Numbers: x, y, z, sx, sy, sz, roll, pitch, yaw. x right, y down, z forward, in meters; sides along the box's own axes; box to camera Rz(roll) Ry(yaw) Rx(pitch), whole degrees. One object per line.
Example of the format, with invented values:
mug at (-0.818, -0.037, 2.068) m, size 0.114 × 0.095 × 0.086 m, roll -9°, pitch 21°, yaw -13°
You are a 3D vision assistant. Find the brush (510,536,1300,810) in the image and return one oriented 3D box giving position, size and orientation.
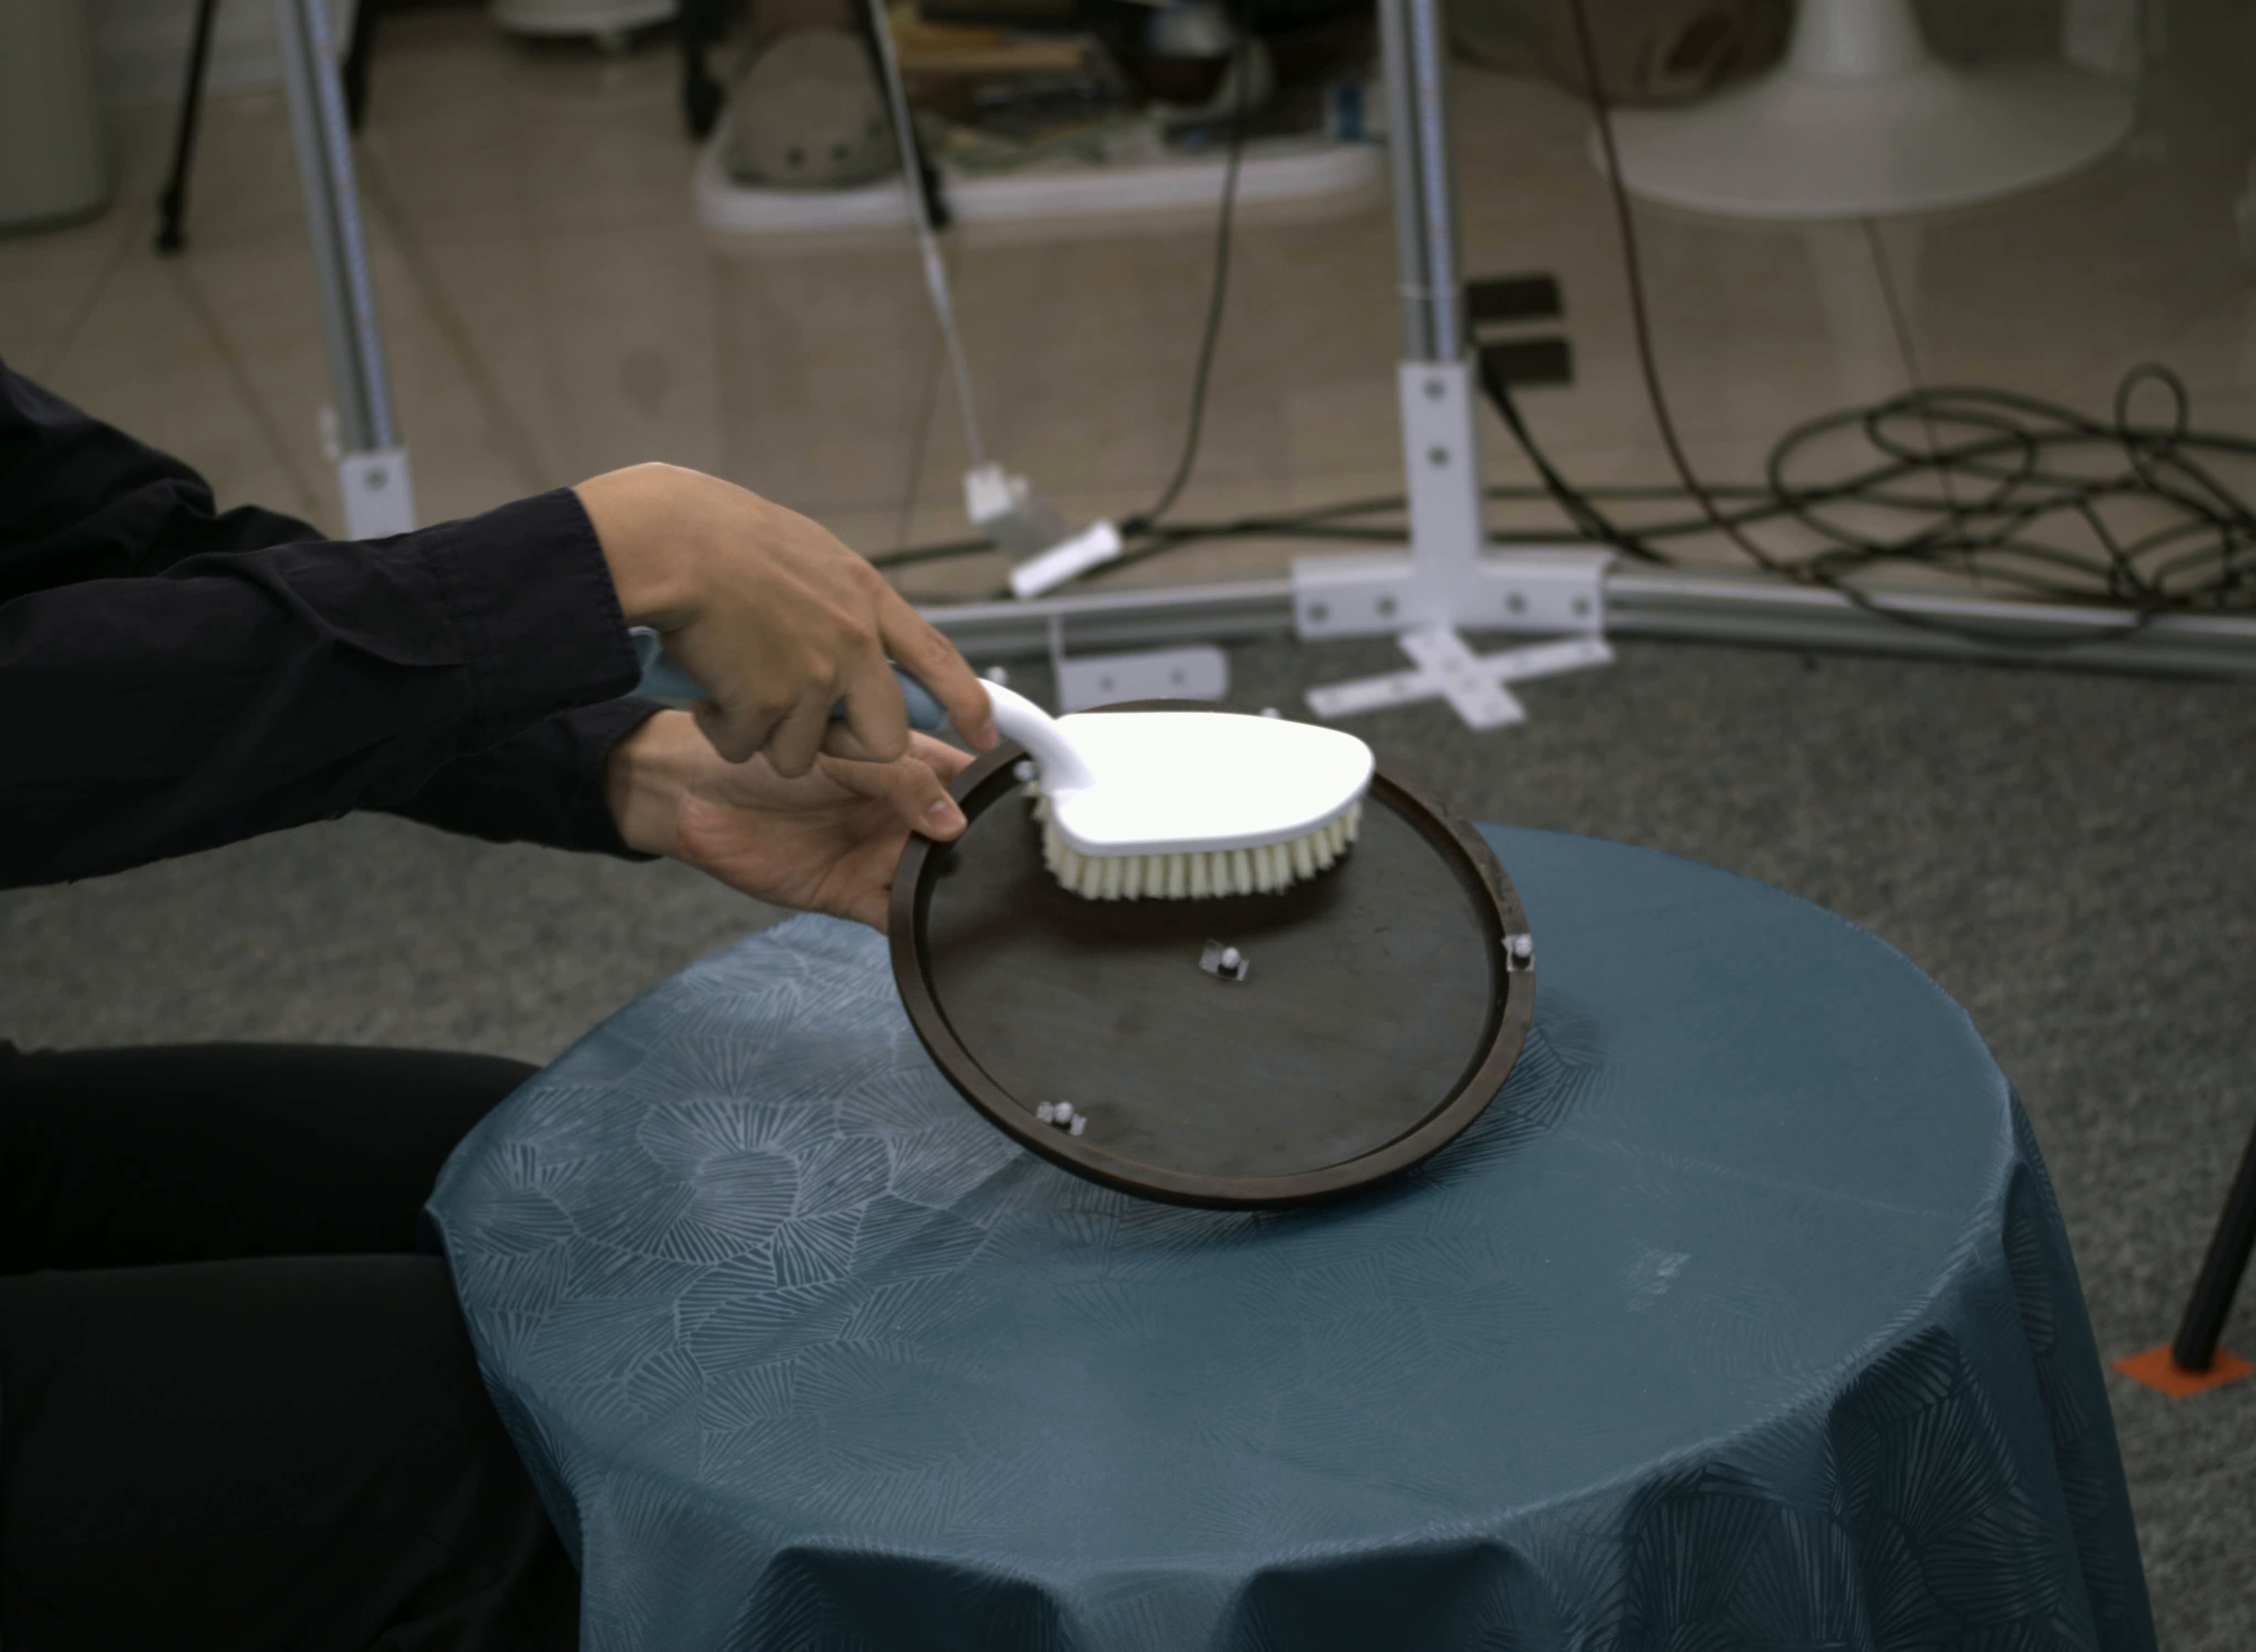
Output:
brush at (-0.090, -0.057, 2.194) m, size 0.325 × 0.085 × 0.082 m, roll 7°, pitch 11°, yaw -21°

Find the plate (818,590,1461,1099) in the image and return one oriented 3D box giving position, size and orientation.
plate at (0.004, 0.006, 2.214) m, size 0.254 × 0.029 × 0.250 m, roll 4°, pitch 52°, yaw -5°
